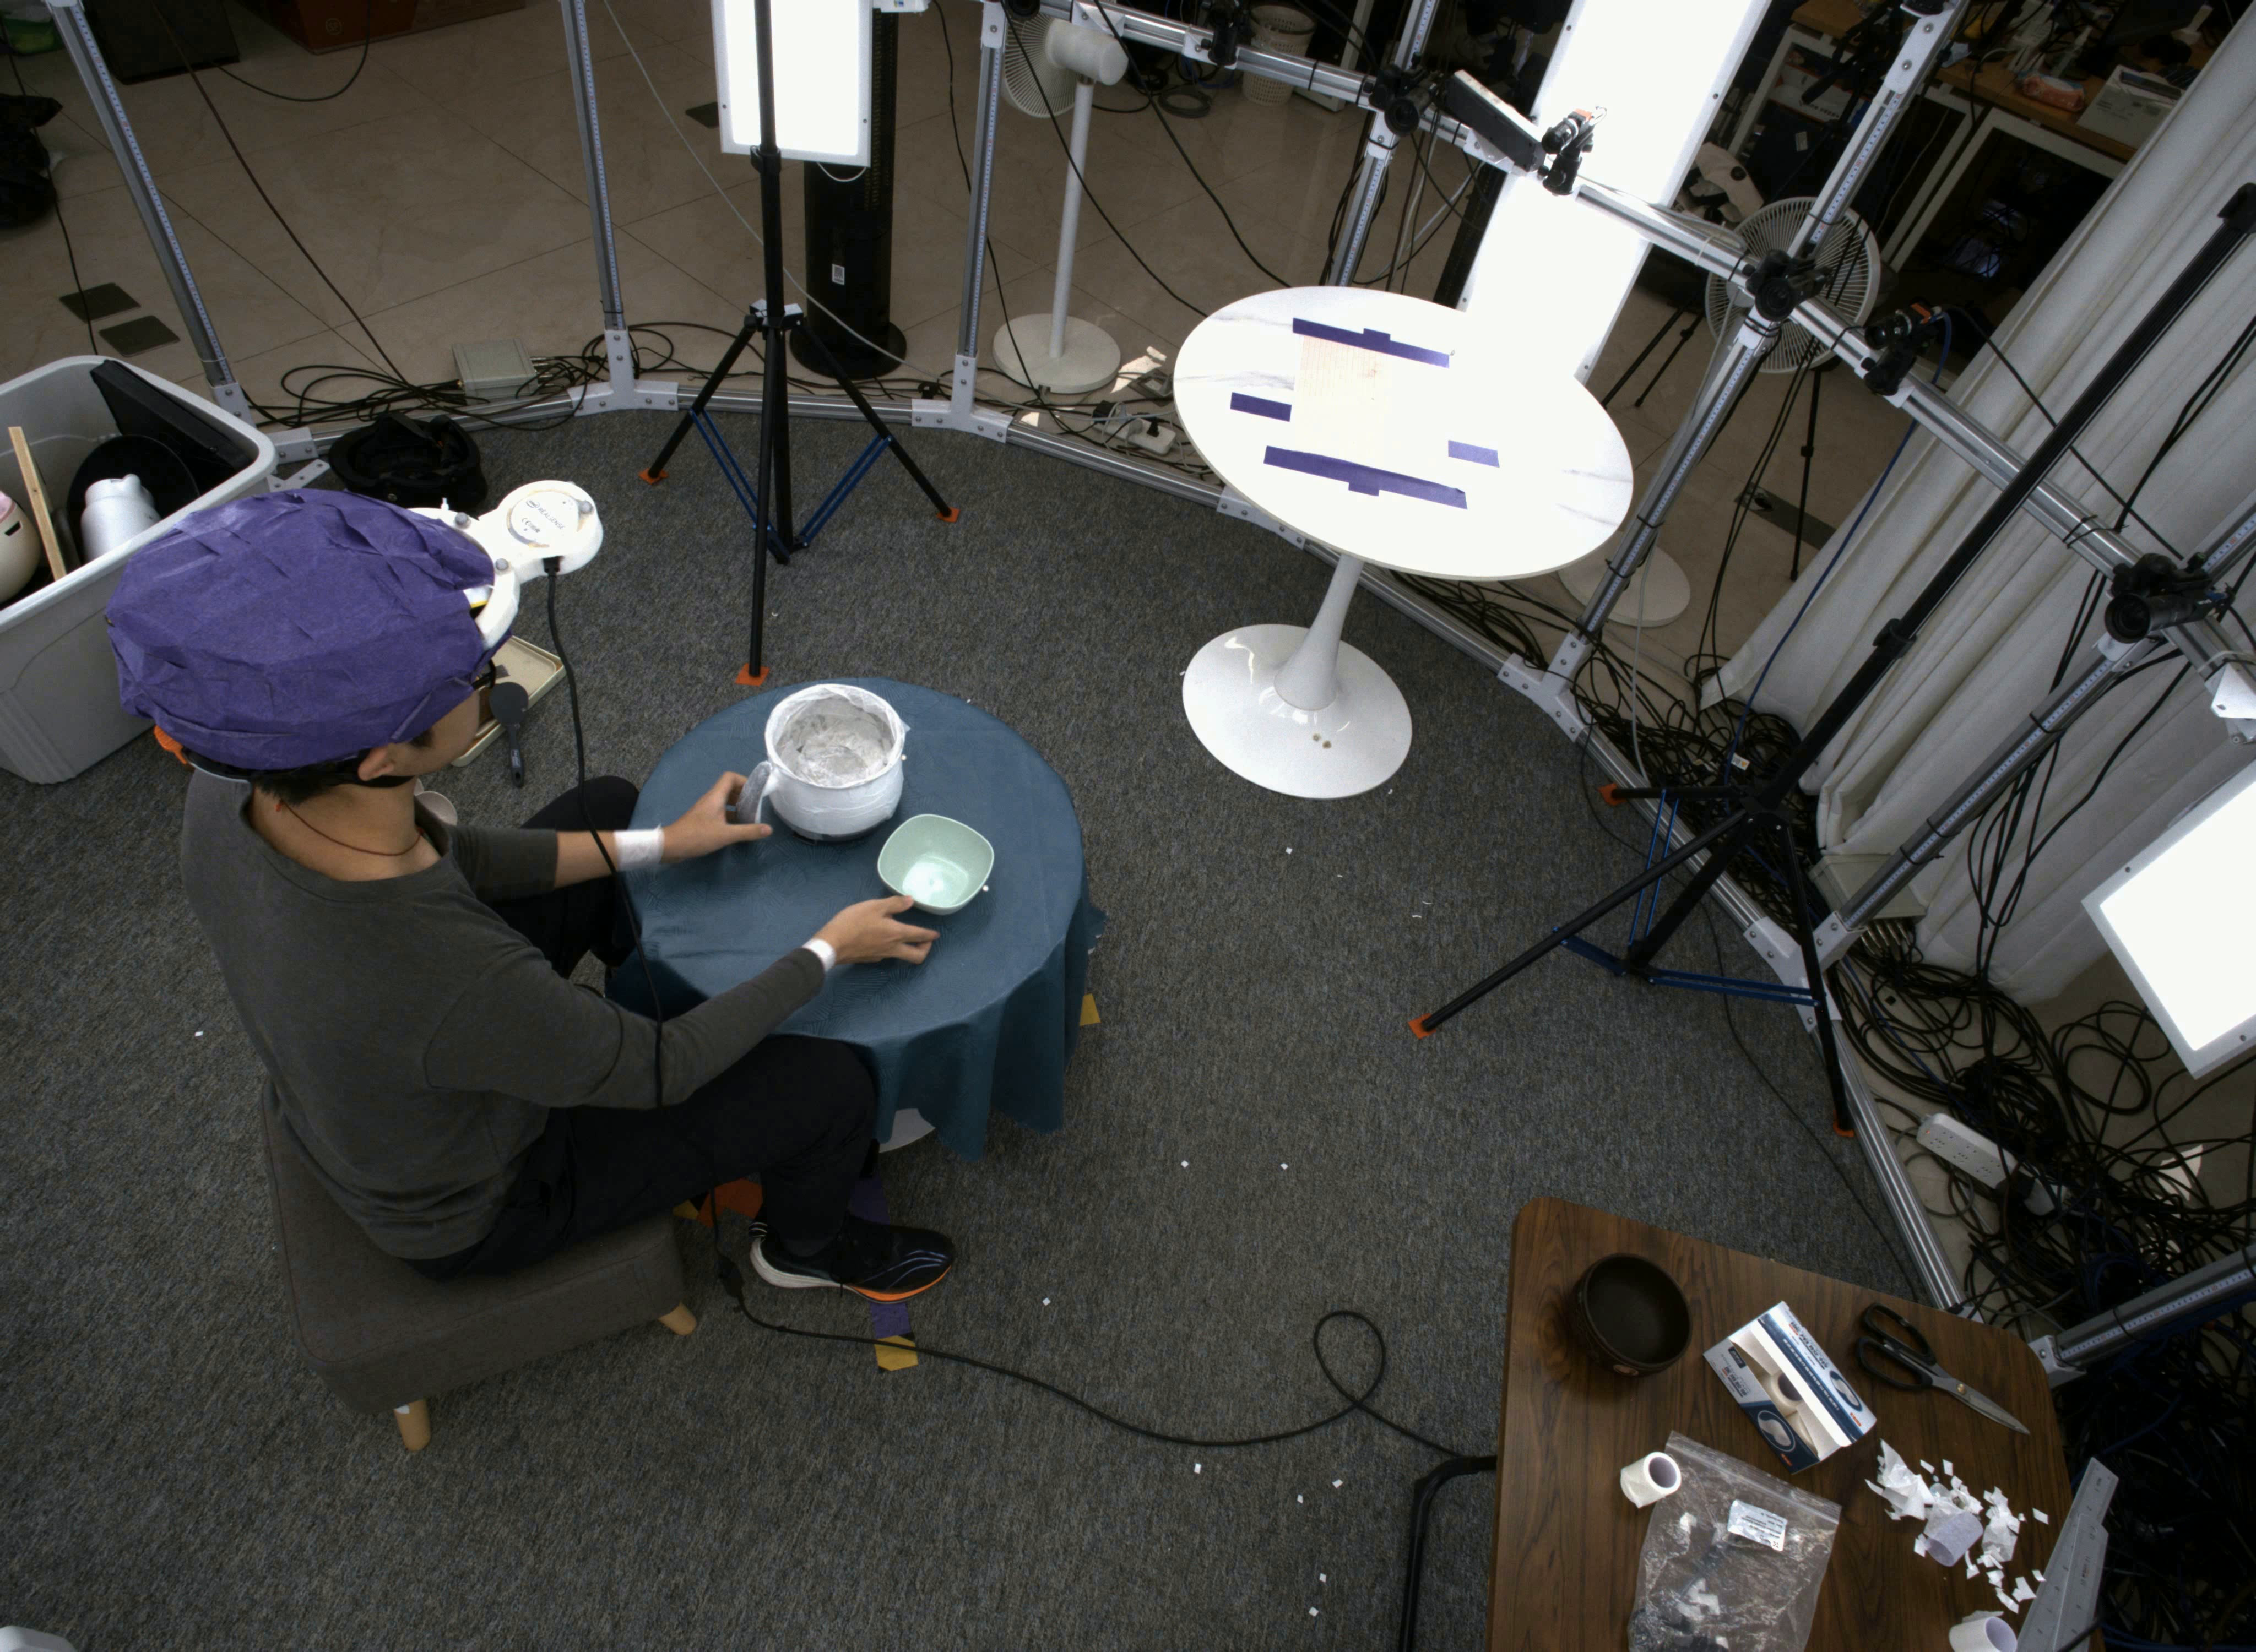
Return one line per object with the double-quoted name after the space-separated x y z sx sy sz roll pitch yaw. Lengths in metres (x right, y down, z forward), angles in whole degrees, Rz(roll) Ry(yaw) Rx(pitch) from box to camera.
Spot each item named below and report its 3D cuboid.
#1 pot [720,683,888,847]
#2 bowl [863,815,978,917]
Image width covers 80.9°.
-0.427 -0.066 1.694 0.234 0.139 0.174 -32 65 -32 "pot"
-0.270 0.061 1.693 0.151 0.060 0.148 9 51 -9 "bowl"
